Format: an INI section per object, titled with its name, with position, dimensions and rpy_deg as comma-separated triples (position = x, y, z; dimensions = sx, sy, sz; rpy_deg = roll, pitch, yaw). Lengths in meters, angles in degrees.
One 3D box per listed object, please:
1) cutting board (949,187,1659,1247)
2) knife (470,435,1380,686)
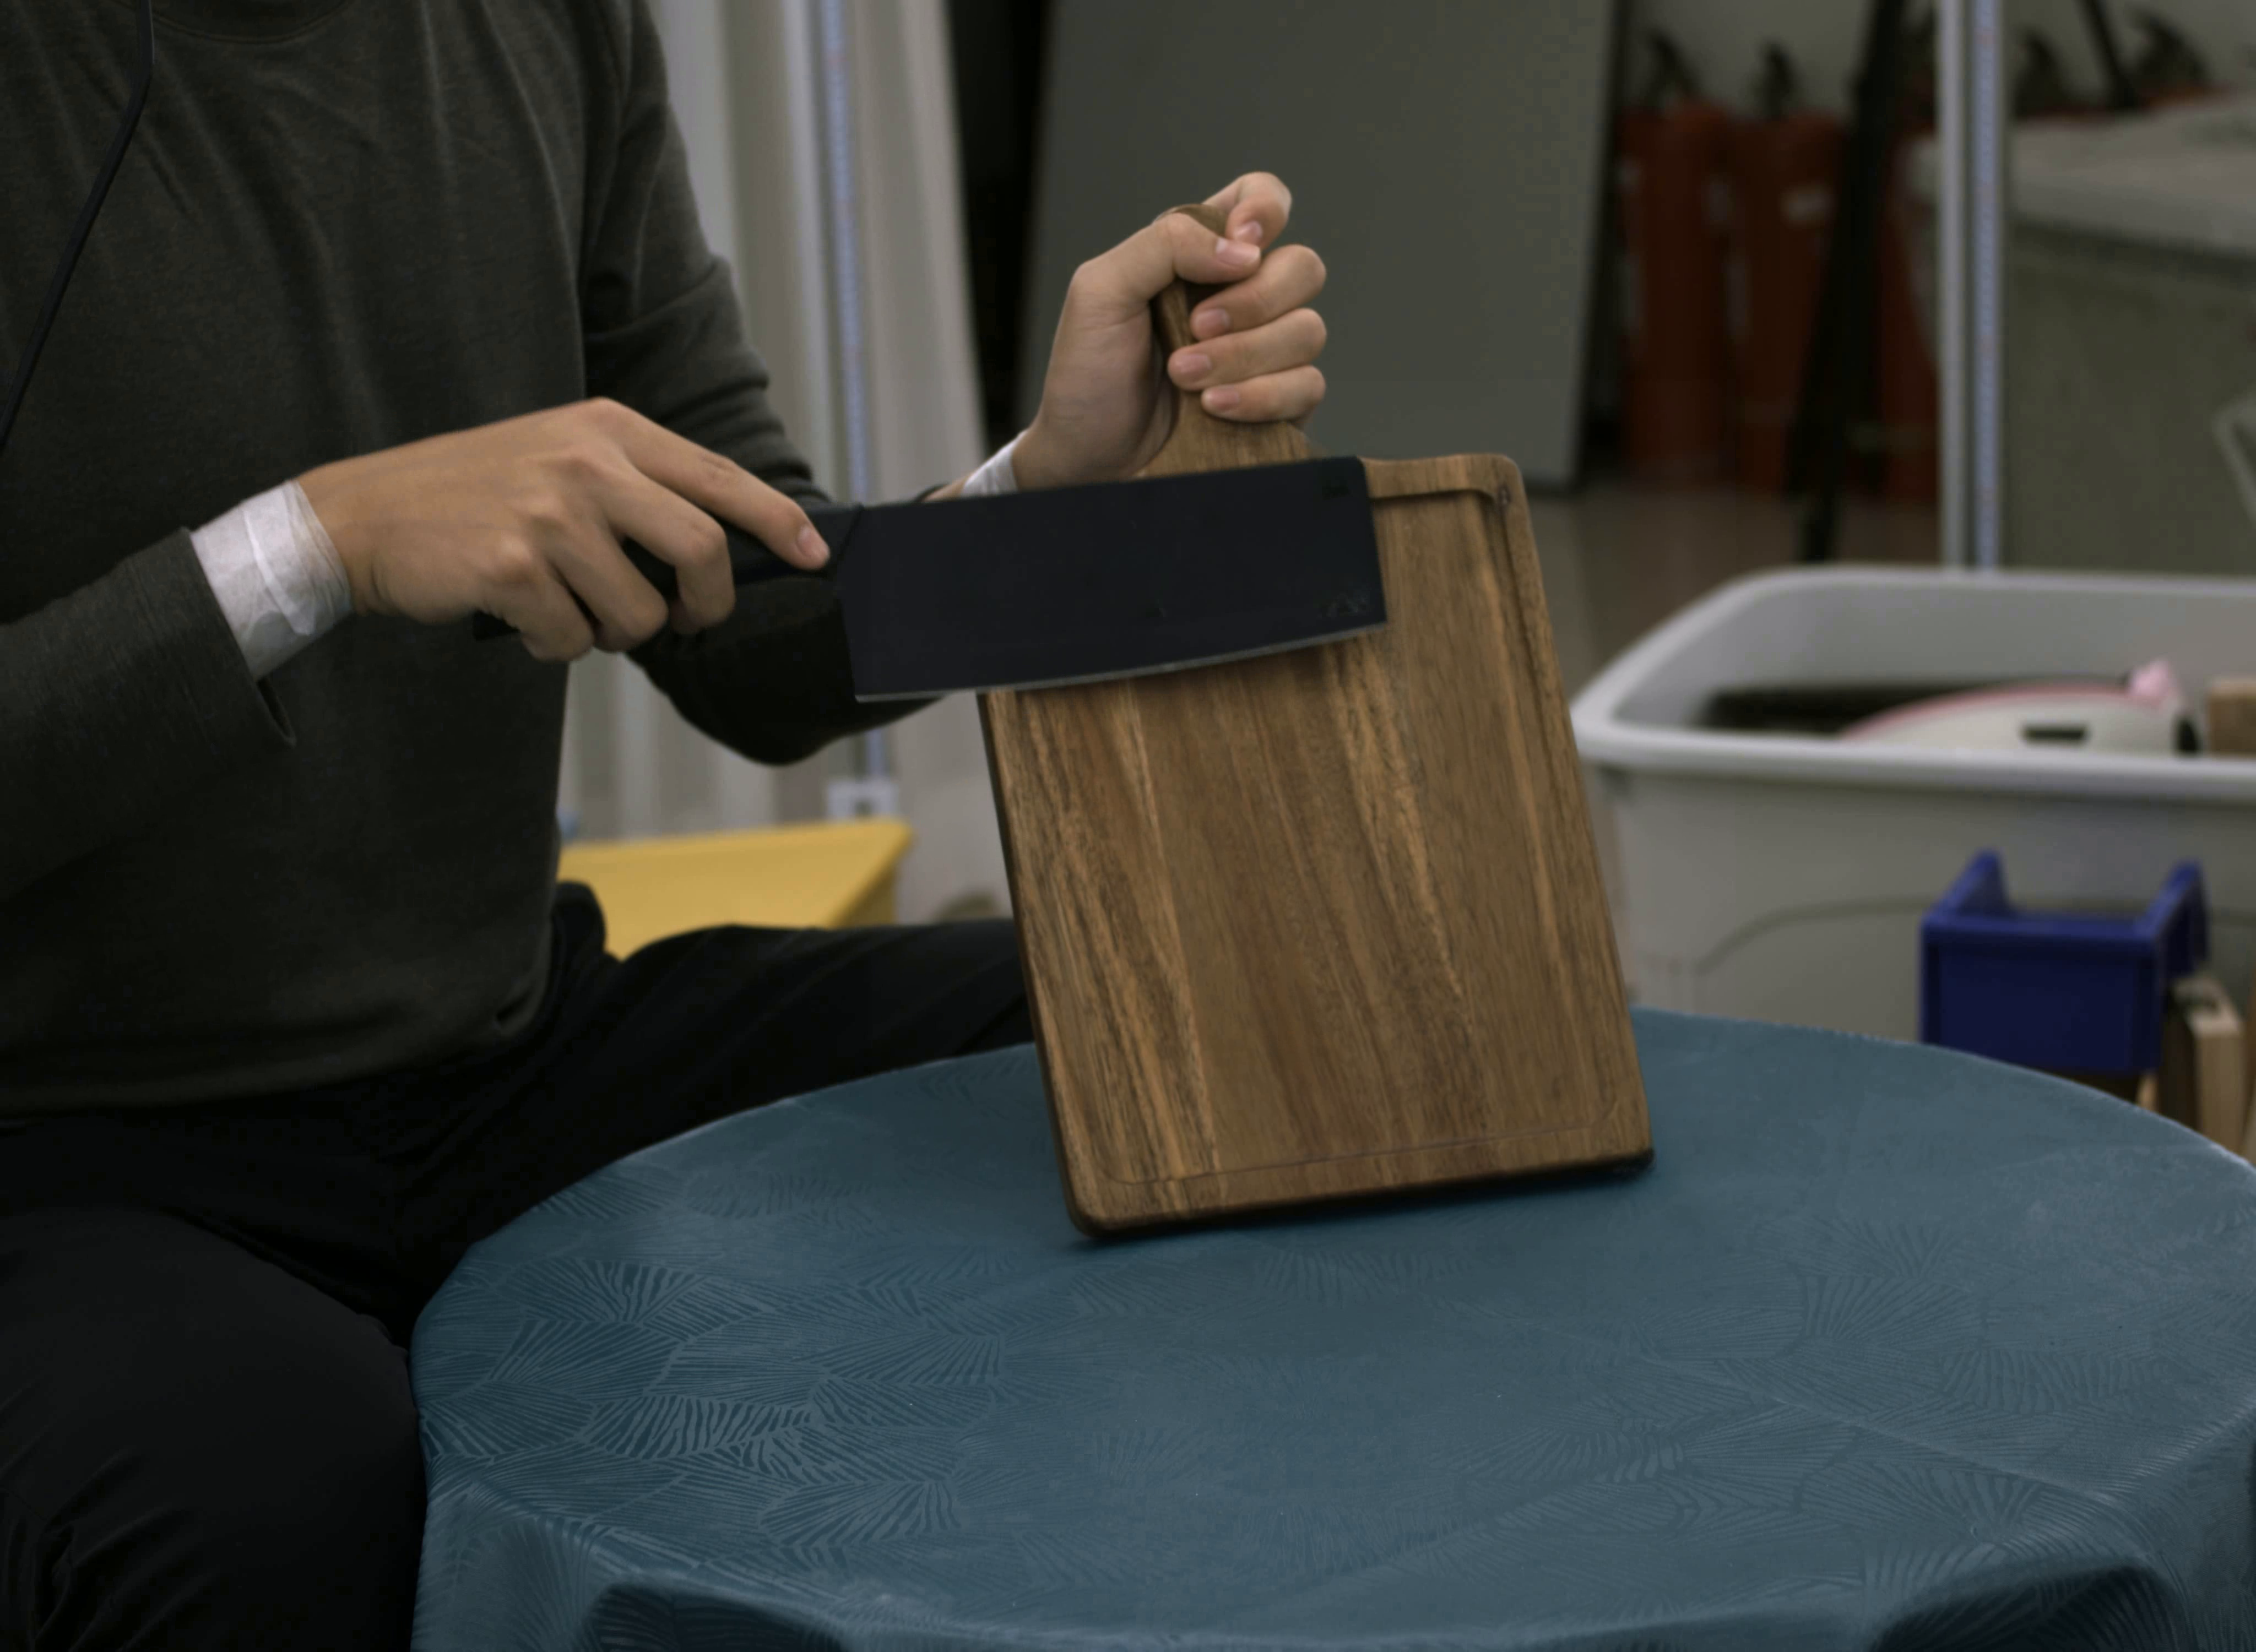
[cutting board]
position = 0.048, -0.046, 1.785
dimensions = 0.197, 0.357, 0.023
rpy_deg = -7, -17, -11
[knife]
position = -0.066, -0.084, 1.770
dimensions = 0.297, 0.082, 0.021
rpy_deg = -3, -15, -5
